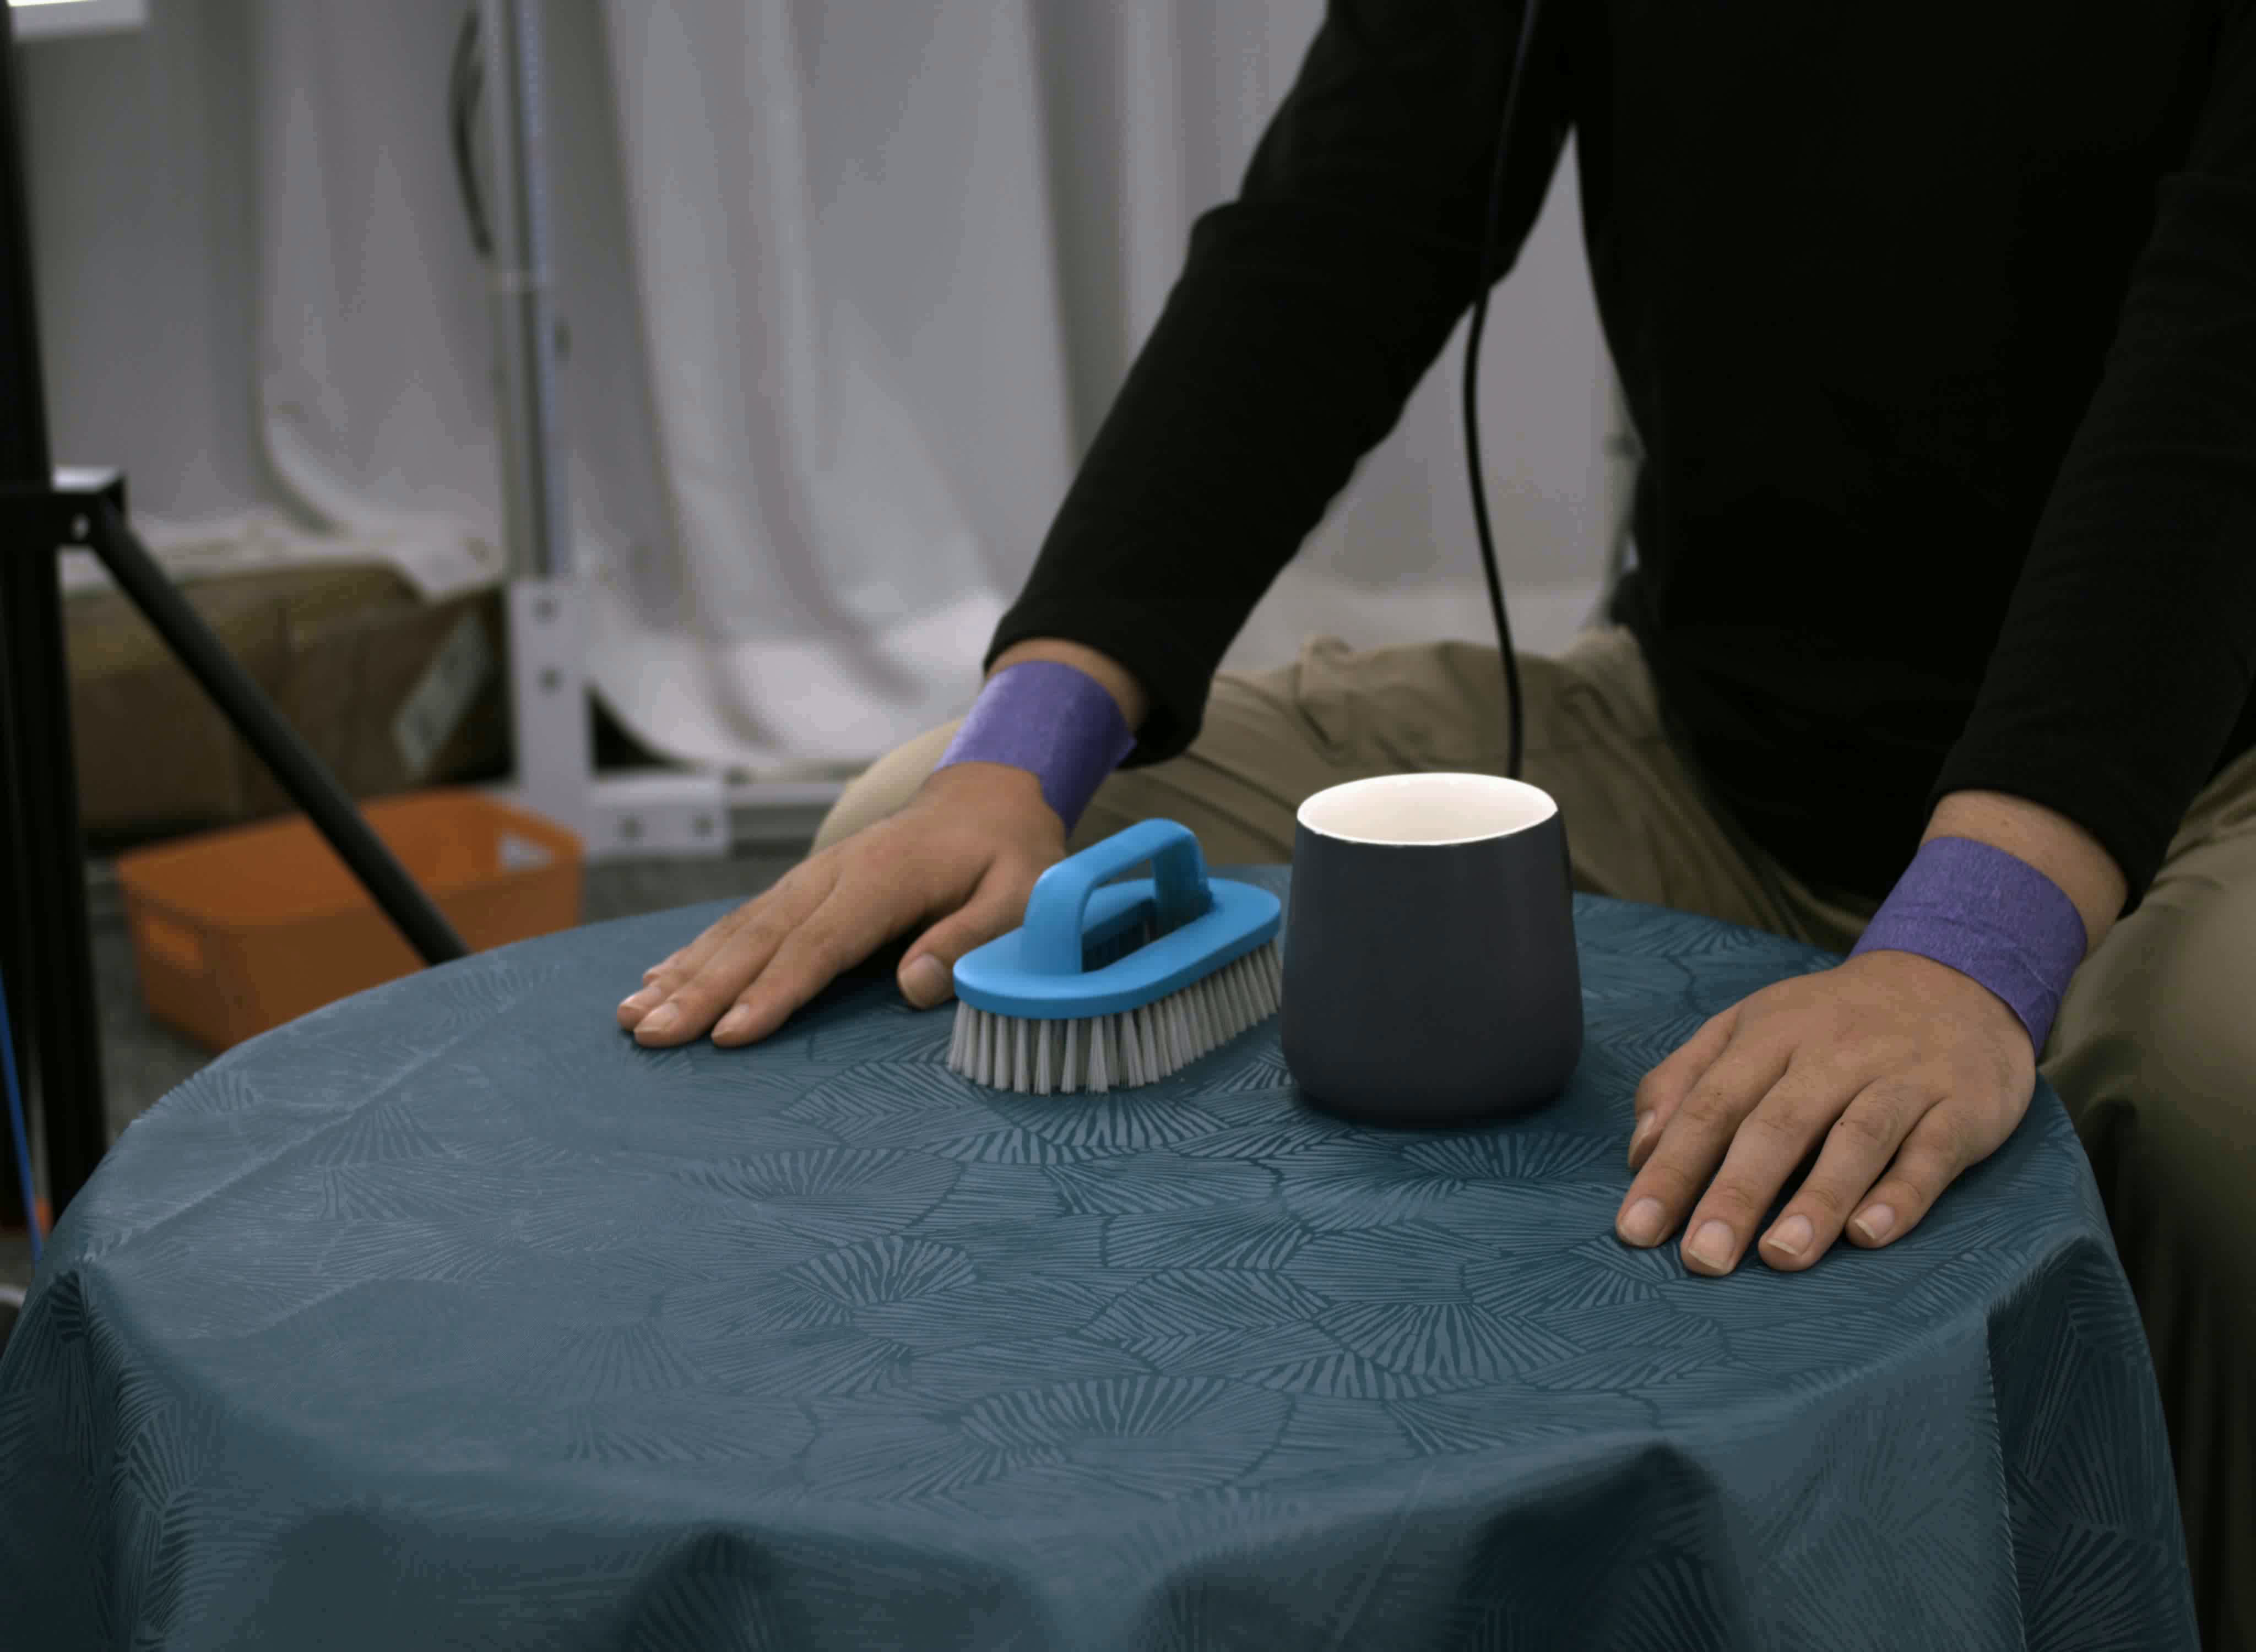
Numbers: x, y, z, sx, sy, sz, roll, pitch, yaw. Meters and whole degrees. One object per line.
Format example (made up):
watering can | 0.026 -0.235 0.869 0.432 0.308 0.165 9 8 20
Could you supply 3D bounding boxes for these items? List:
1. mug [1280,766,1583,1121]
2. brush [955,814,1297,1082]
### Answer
mug | 0.102 0.032 1.637 0.095 0.090 0.121 10 22 37
brush | 0.000 0.034 1.701 0.086 0.064 0.139 2 15 33
